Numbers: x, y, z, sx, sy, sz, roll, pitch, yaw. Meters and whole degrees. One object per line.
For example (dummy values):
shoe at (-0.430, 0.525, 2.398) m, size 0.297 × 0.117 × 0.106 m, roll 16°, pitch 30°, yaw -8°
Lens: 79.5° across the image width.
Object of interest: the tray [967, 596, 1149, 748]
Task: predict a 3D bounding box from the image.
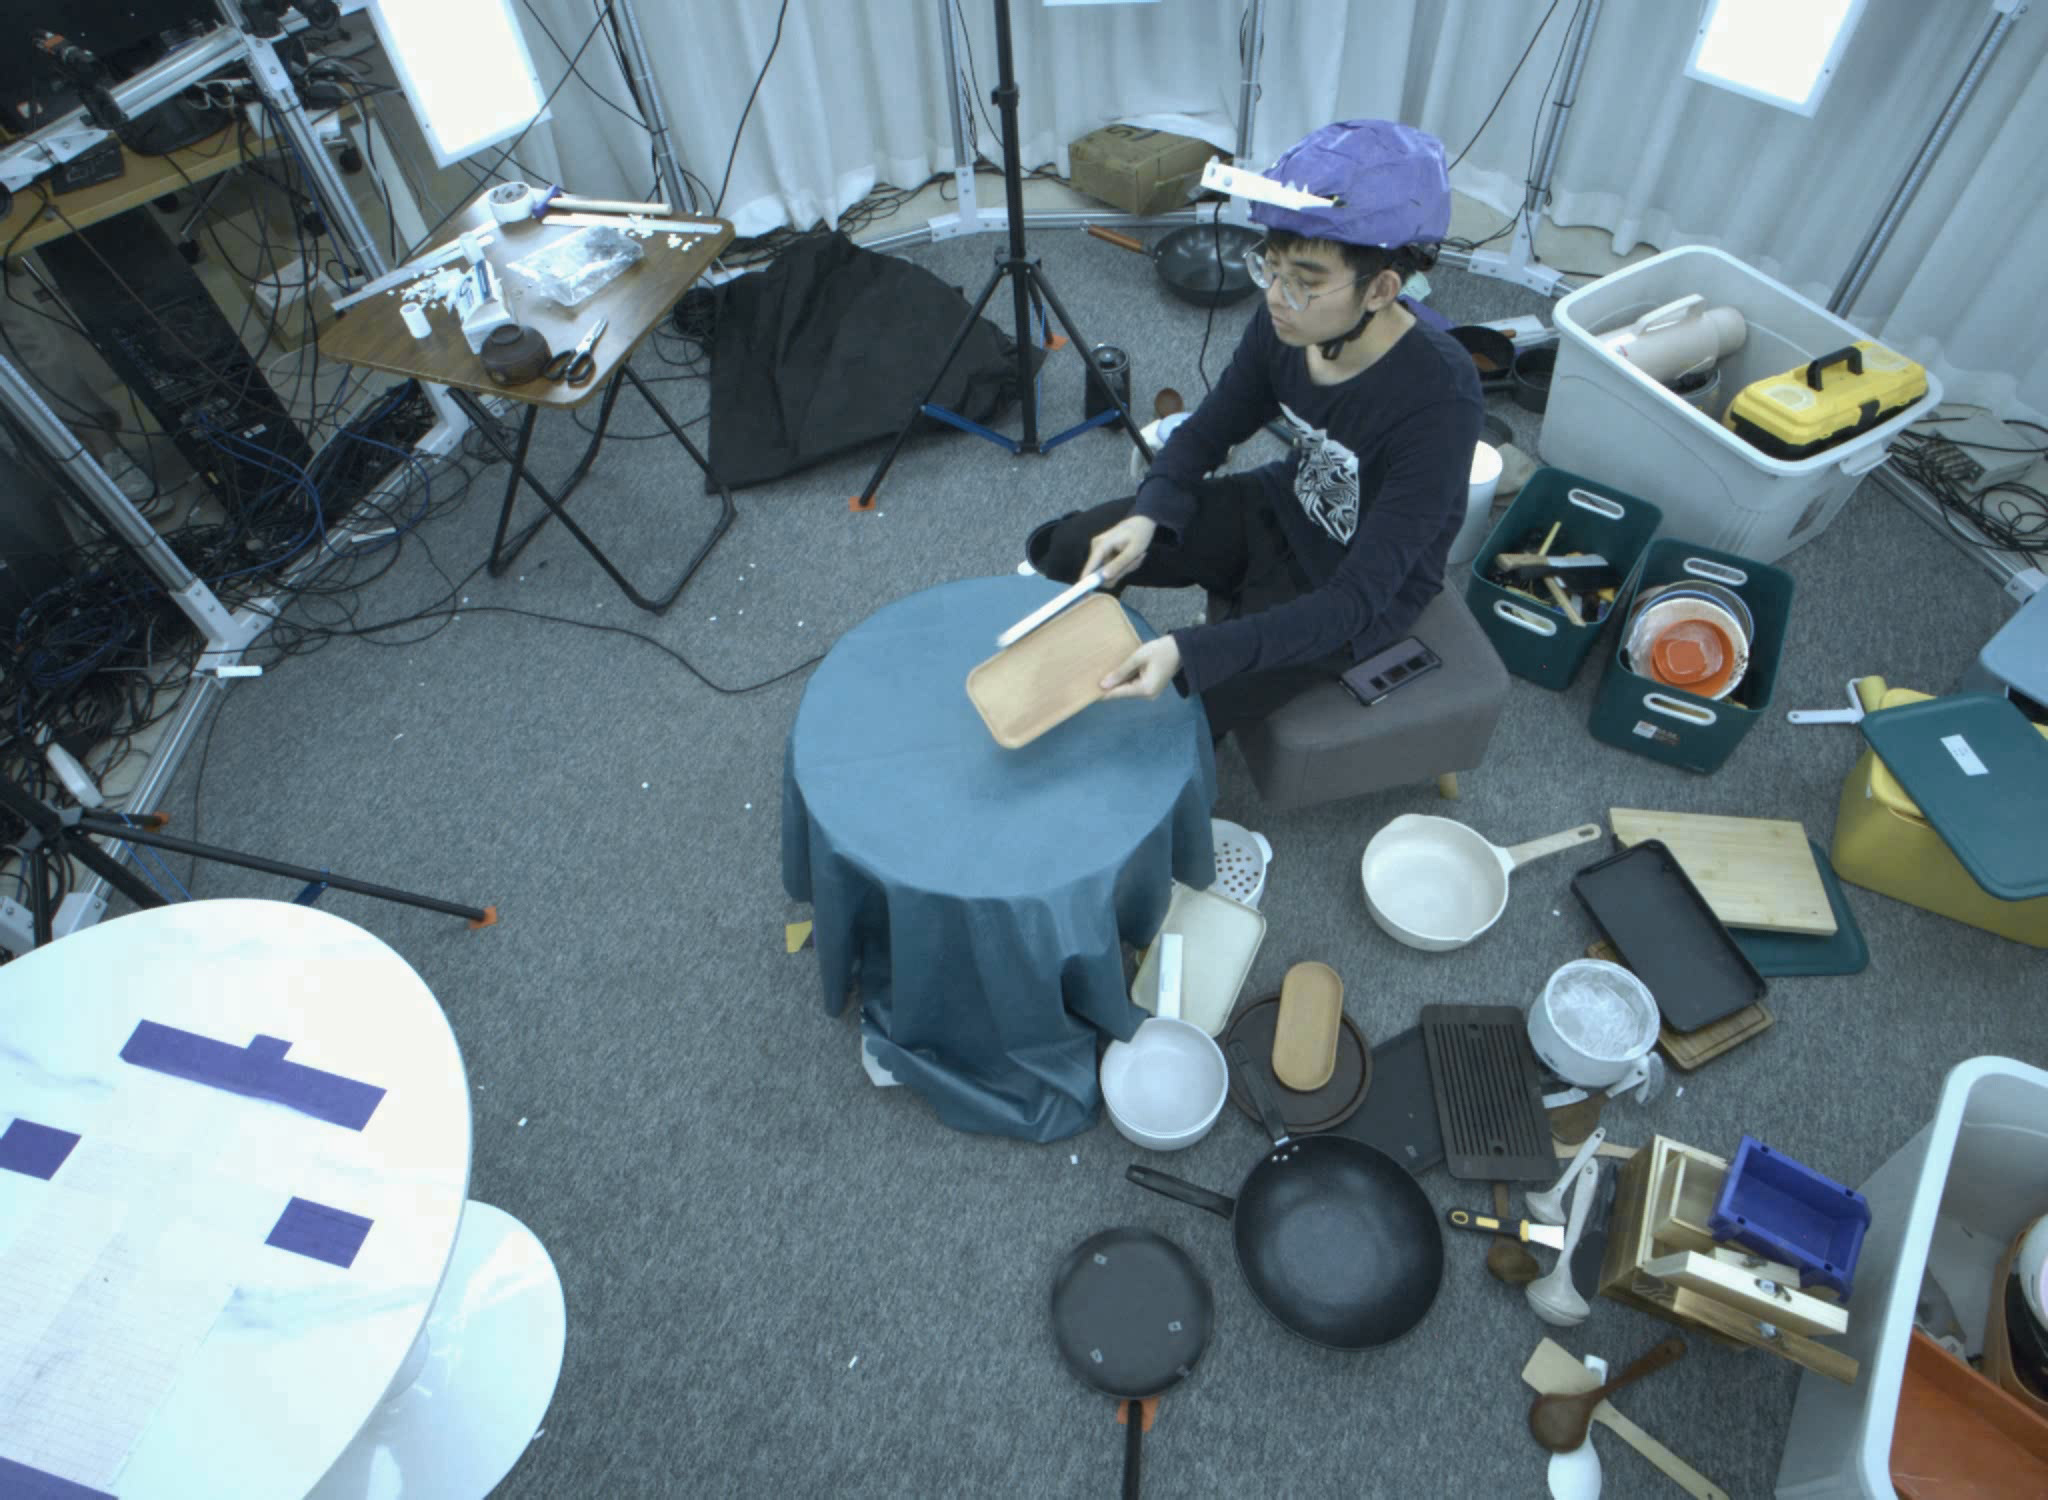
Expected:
tray at (0.048, -0.110, 1.728) m, size 0.252 × 0.022 × 0.131 m, roll -30°, pitch 101°, yaw -10°

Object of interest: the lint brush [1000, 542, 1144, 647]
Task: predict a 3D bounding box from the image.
lint brush at (0.075, -0.231, 1.783) m, size 0.312 × 0.059 × 0.021 m, roll -38°, pitch 88°, yaw -34°
